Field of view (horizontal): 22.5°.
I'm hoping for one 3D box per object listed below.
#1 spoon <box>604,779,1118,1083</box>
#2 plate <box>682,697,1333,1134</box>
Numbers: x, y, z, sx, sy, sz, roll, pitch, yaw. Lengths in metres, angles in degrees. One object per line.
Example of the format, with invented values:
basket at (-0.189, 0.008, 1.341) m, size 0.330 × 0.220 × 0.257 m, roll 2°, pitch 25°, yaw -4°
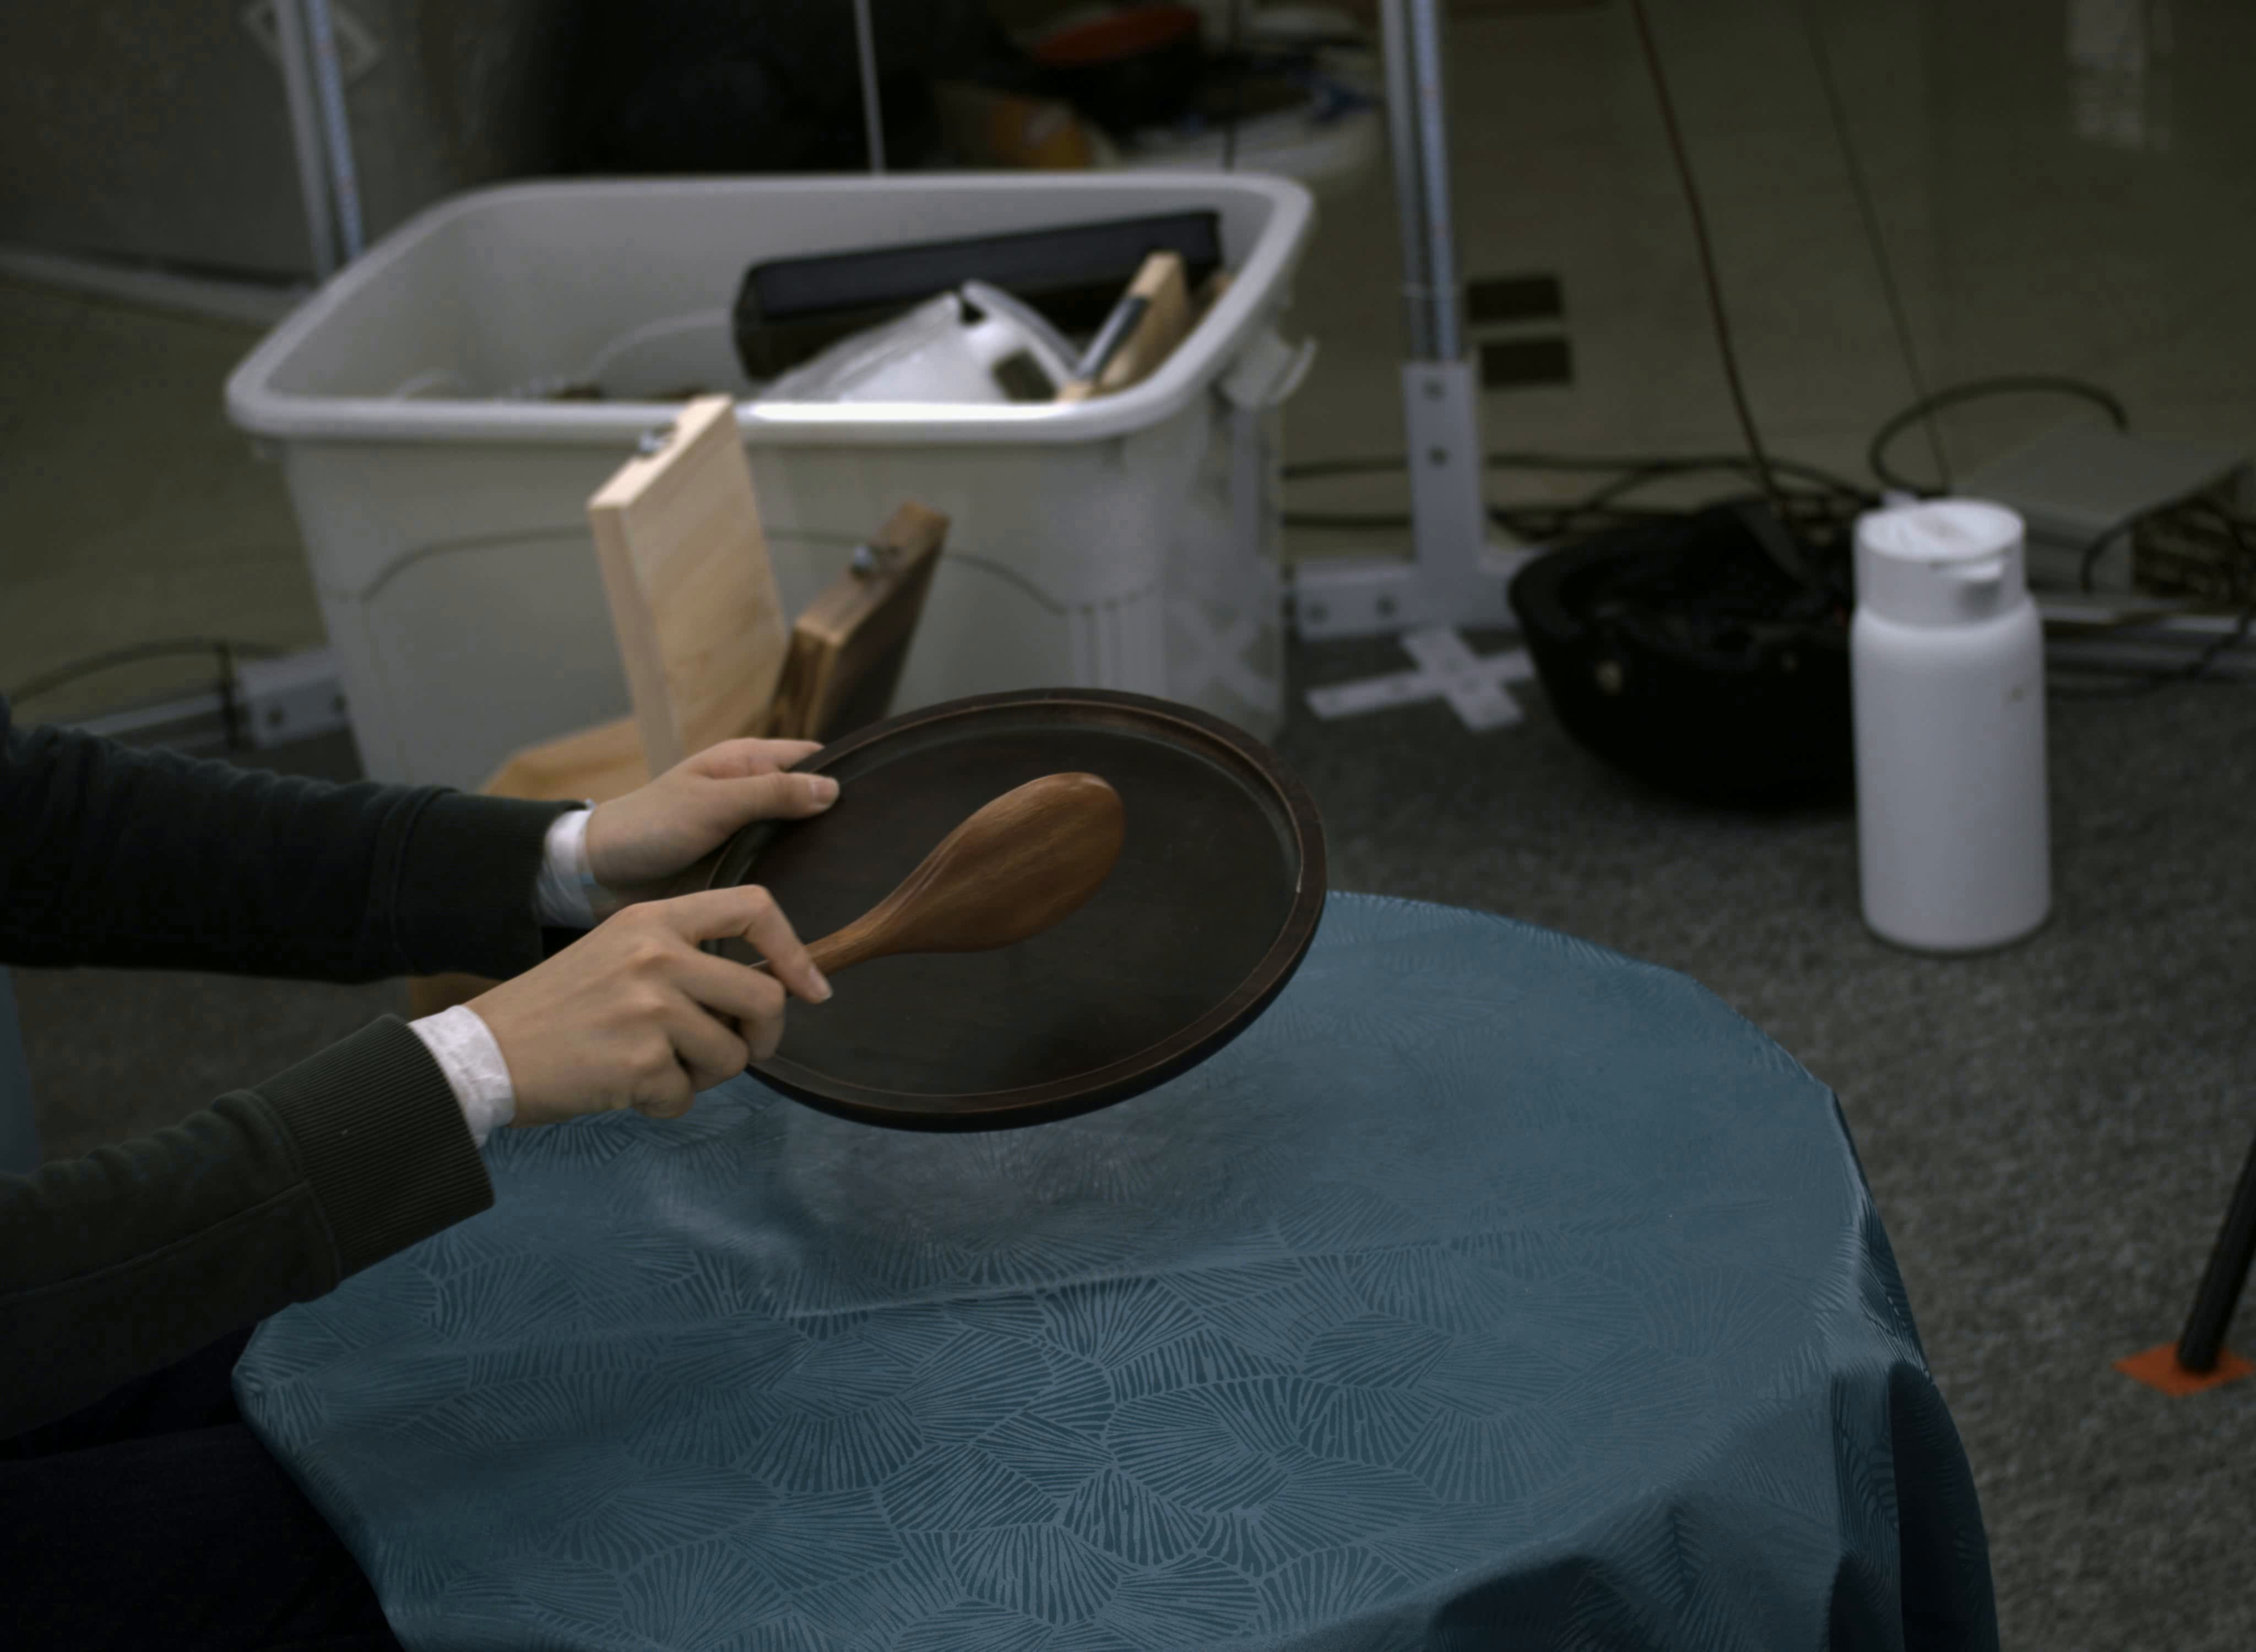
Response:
spoon at (-0.093, 0.042, 2.050) m, size 0.214 × 0.077 × 0.017 m, roll -25°, pitch 53°, yaw -21°
plate at (-0.046, 0.033, 2.165) m, size 0.254 × 0.029 × 0.250 m, roll -6°, pitch 38°, yaw 5°
